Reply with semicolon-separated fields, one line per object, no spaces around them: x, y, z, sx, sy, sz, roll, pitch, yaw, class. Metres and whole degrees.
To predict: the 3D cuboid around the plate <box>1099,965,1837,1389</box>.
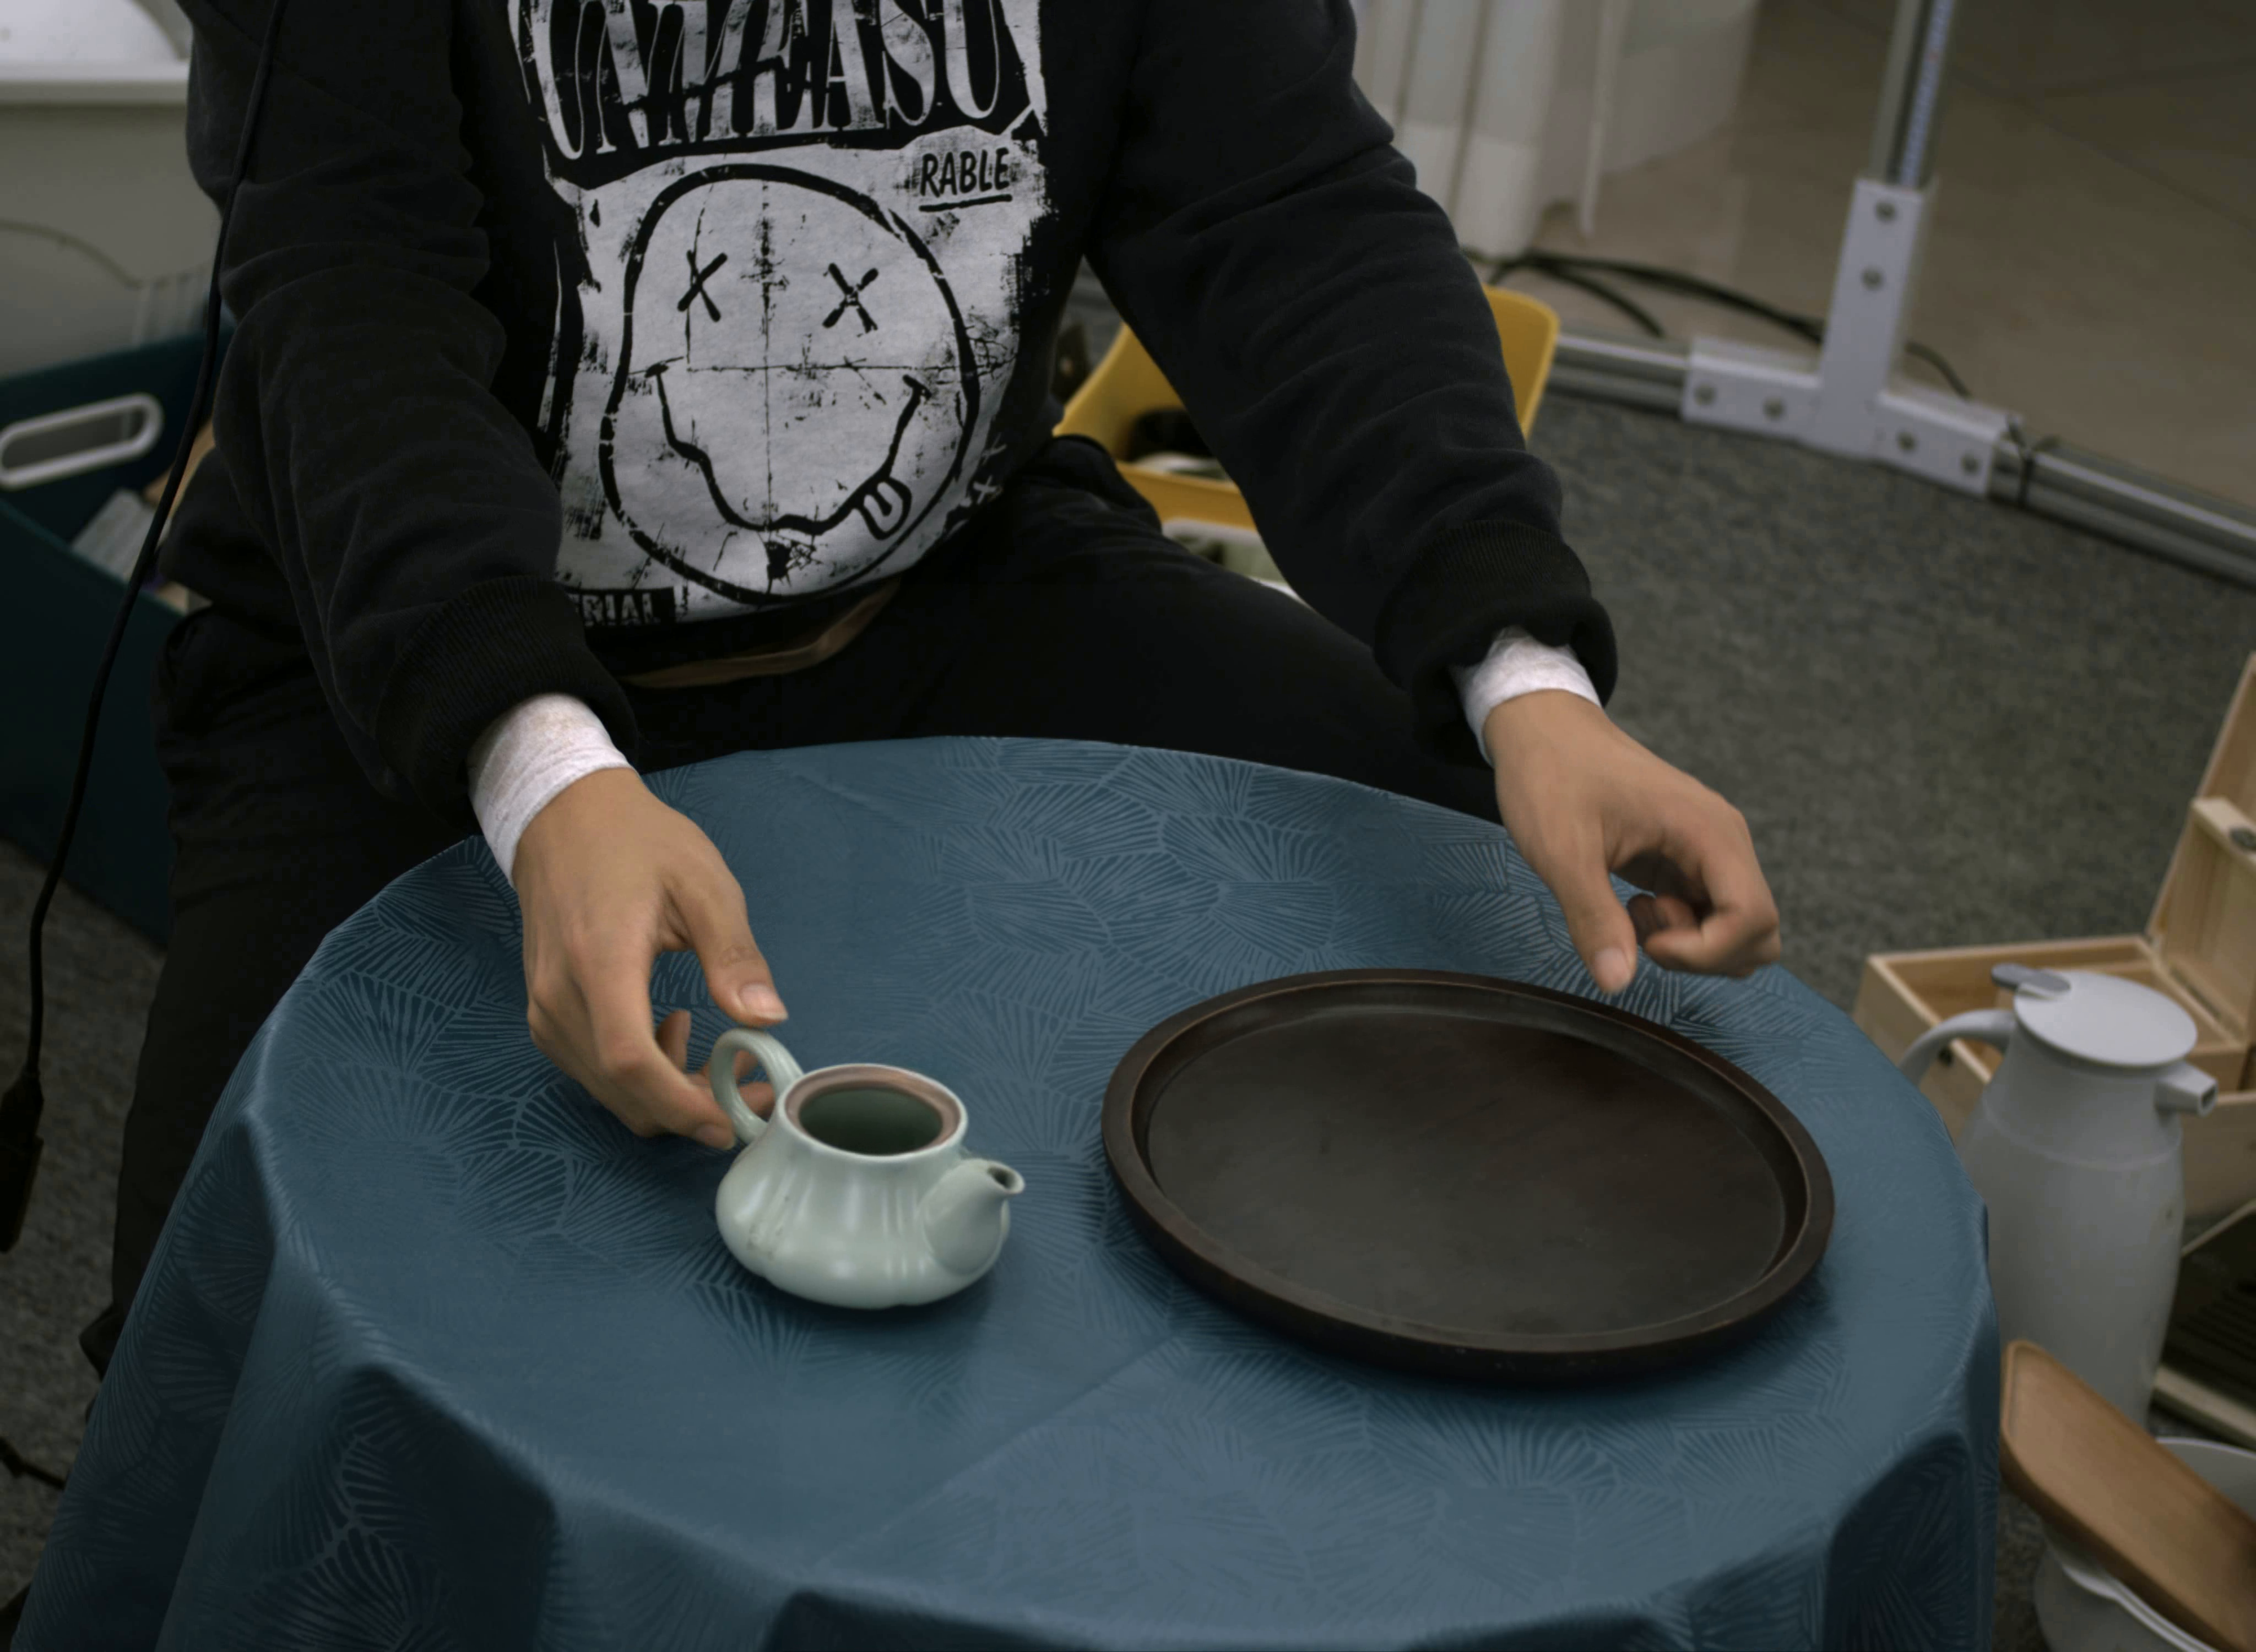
0.115;0.118;1.815;0.254;0.029;0.256;4;28;-3;plate

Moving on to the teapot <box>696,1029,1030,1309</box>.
-0.089;0.114;1.739;0.138;0.061;0.096;25;33;32;teapot
